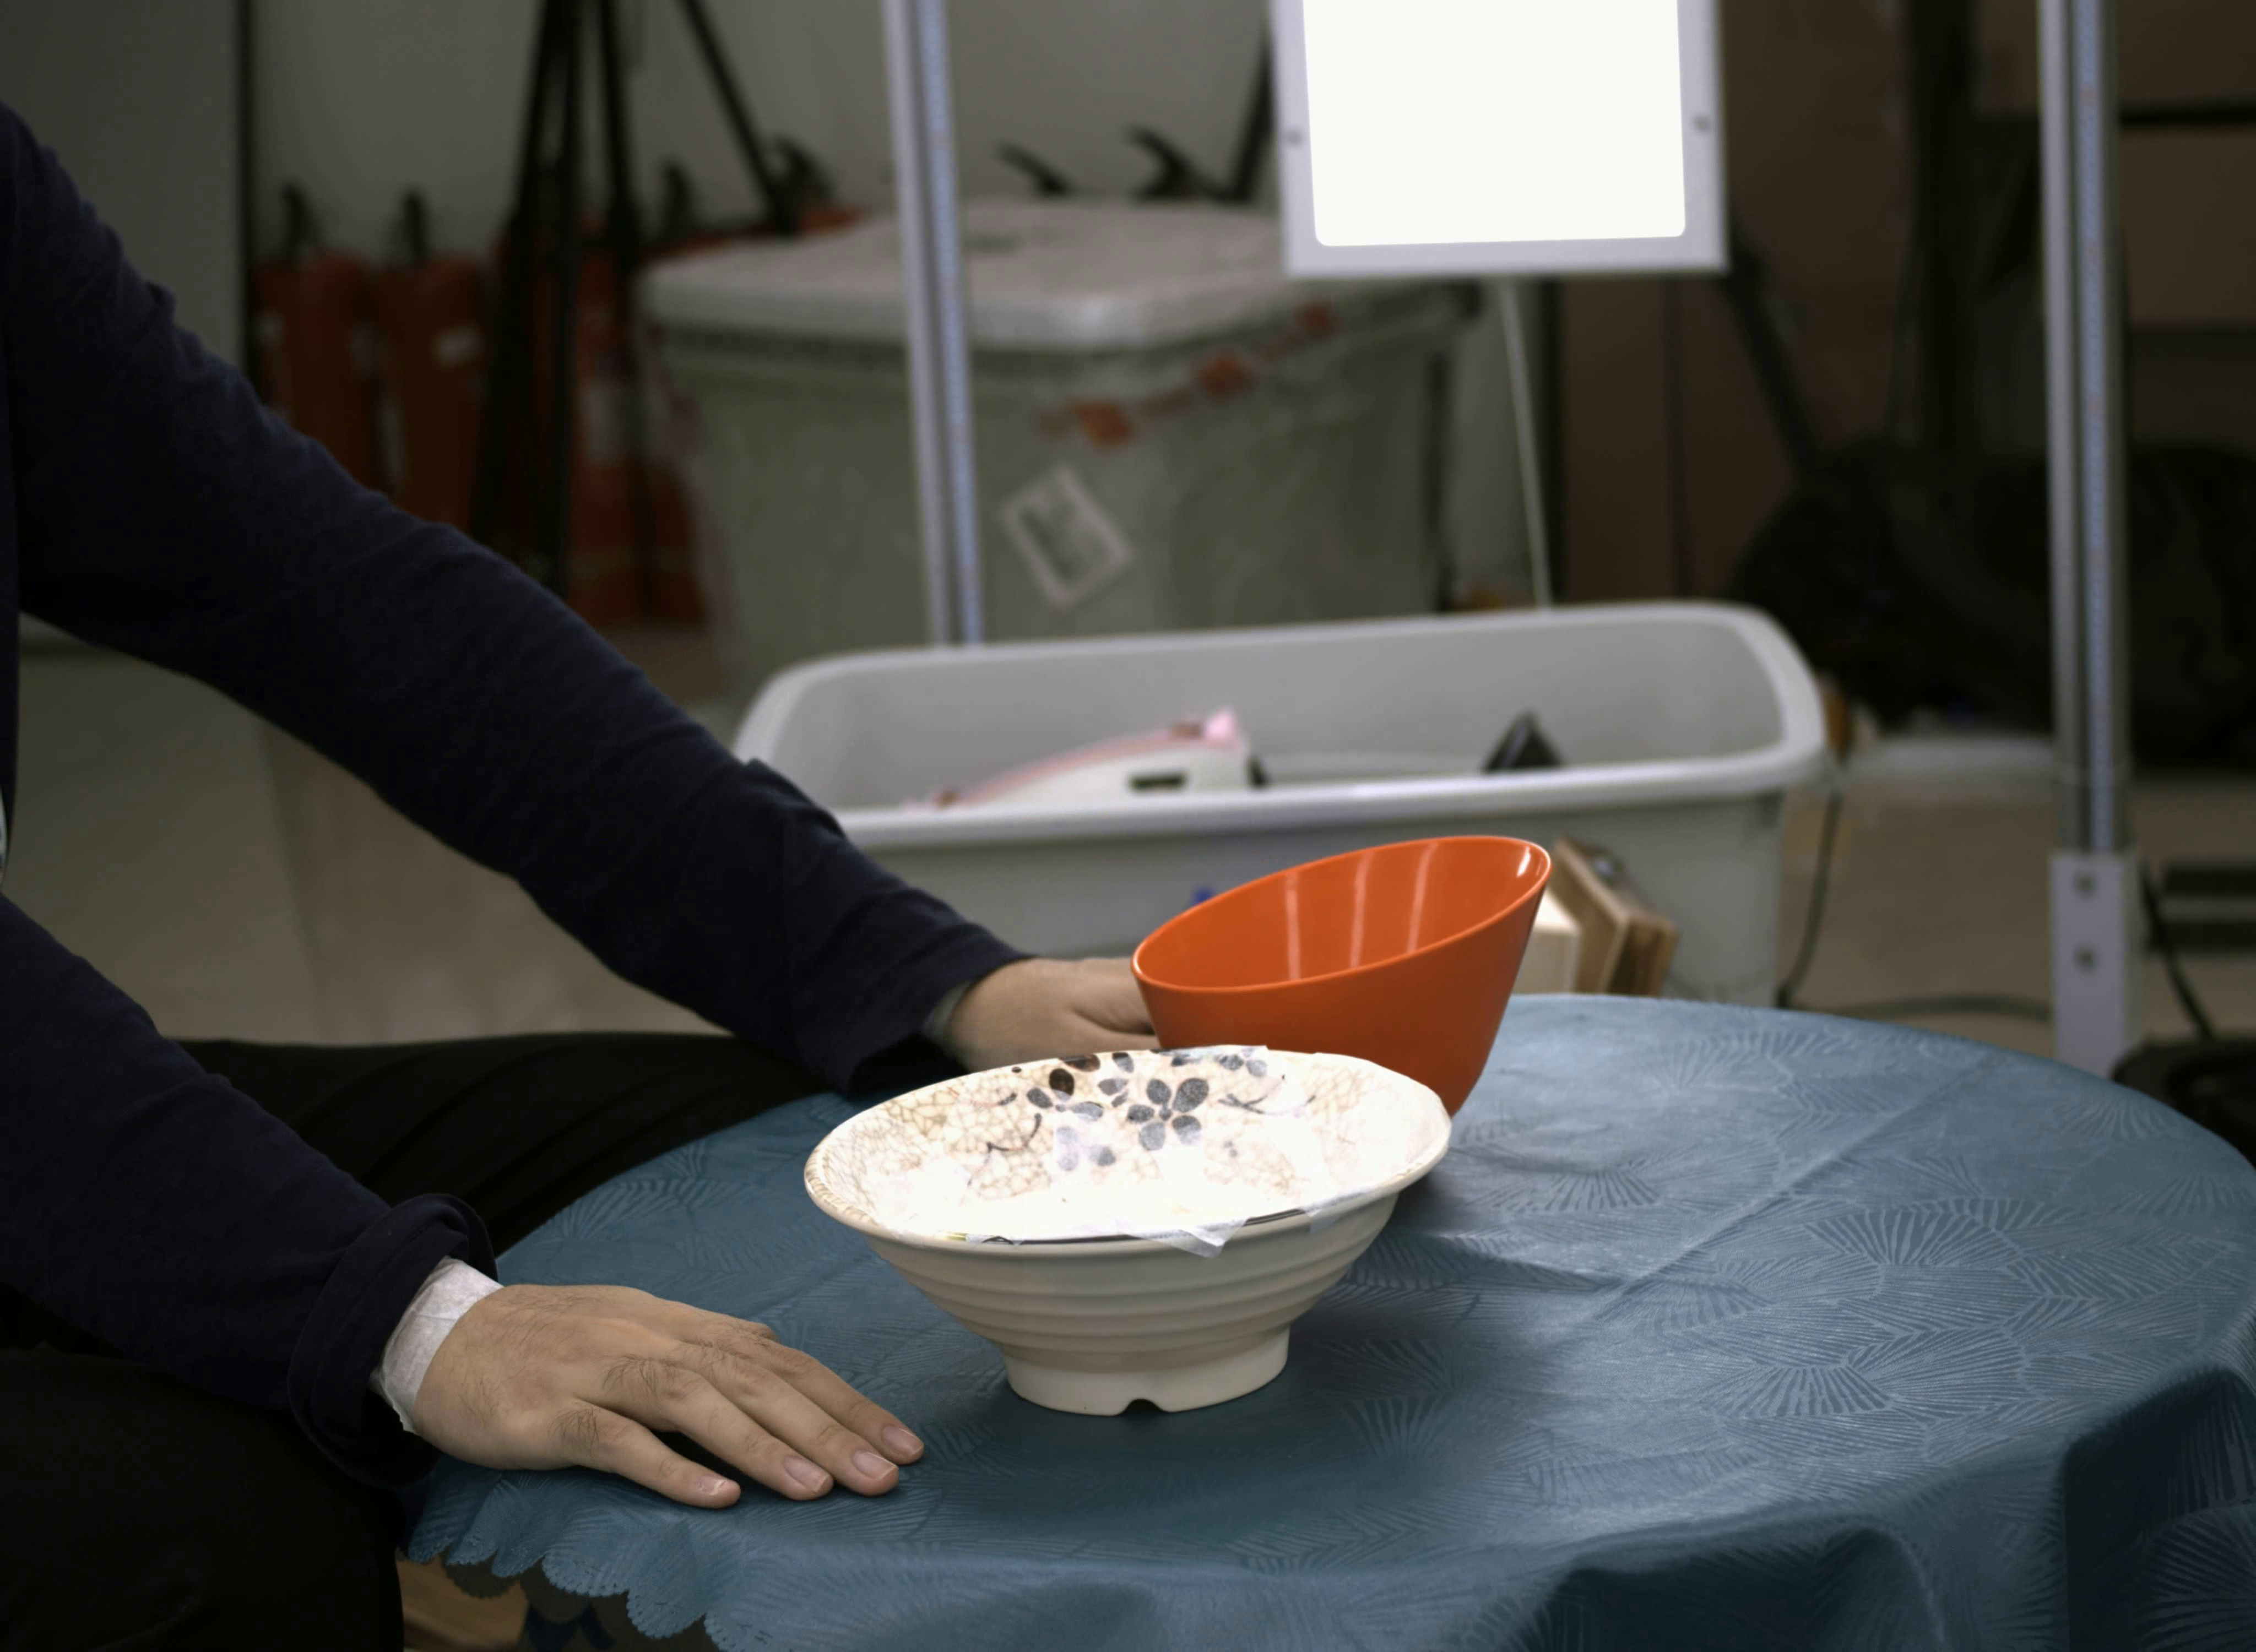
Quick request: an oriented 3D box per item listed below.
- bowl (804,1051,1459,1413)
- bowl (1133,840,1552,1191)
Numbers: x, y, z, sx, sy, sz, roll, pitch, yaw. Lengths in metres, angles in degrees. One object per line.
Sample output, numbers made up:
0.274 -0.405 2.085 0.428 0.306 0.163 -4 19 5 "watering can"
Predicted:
0.003 0.132 1.709 0.203 0.078 0.204 -3 13 -1 "bowl"
0.078 0.070 1.896 0.148 0.105 0.148 -7 13 0 "bowl"
